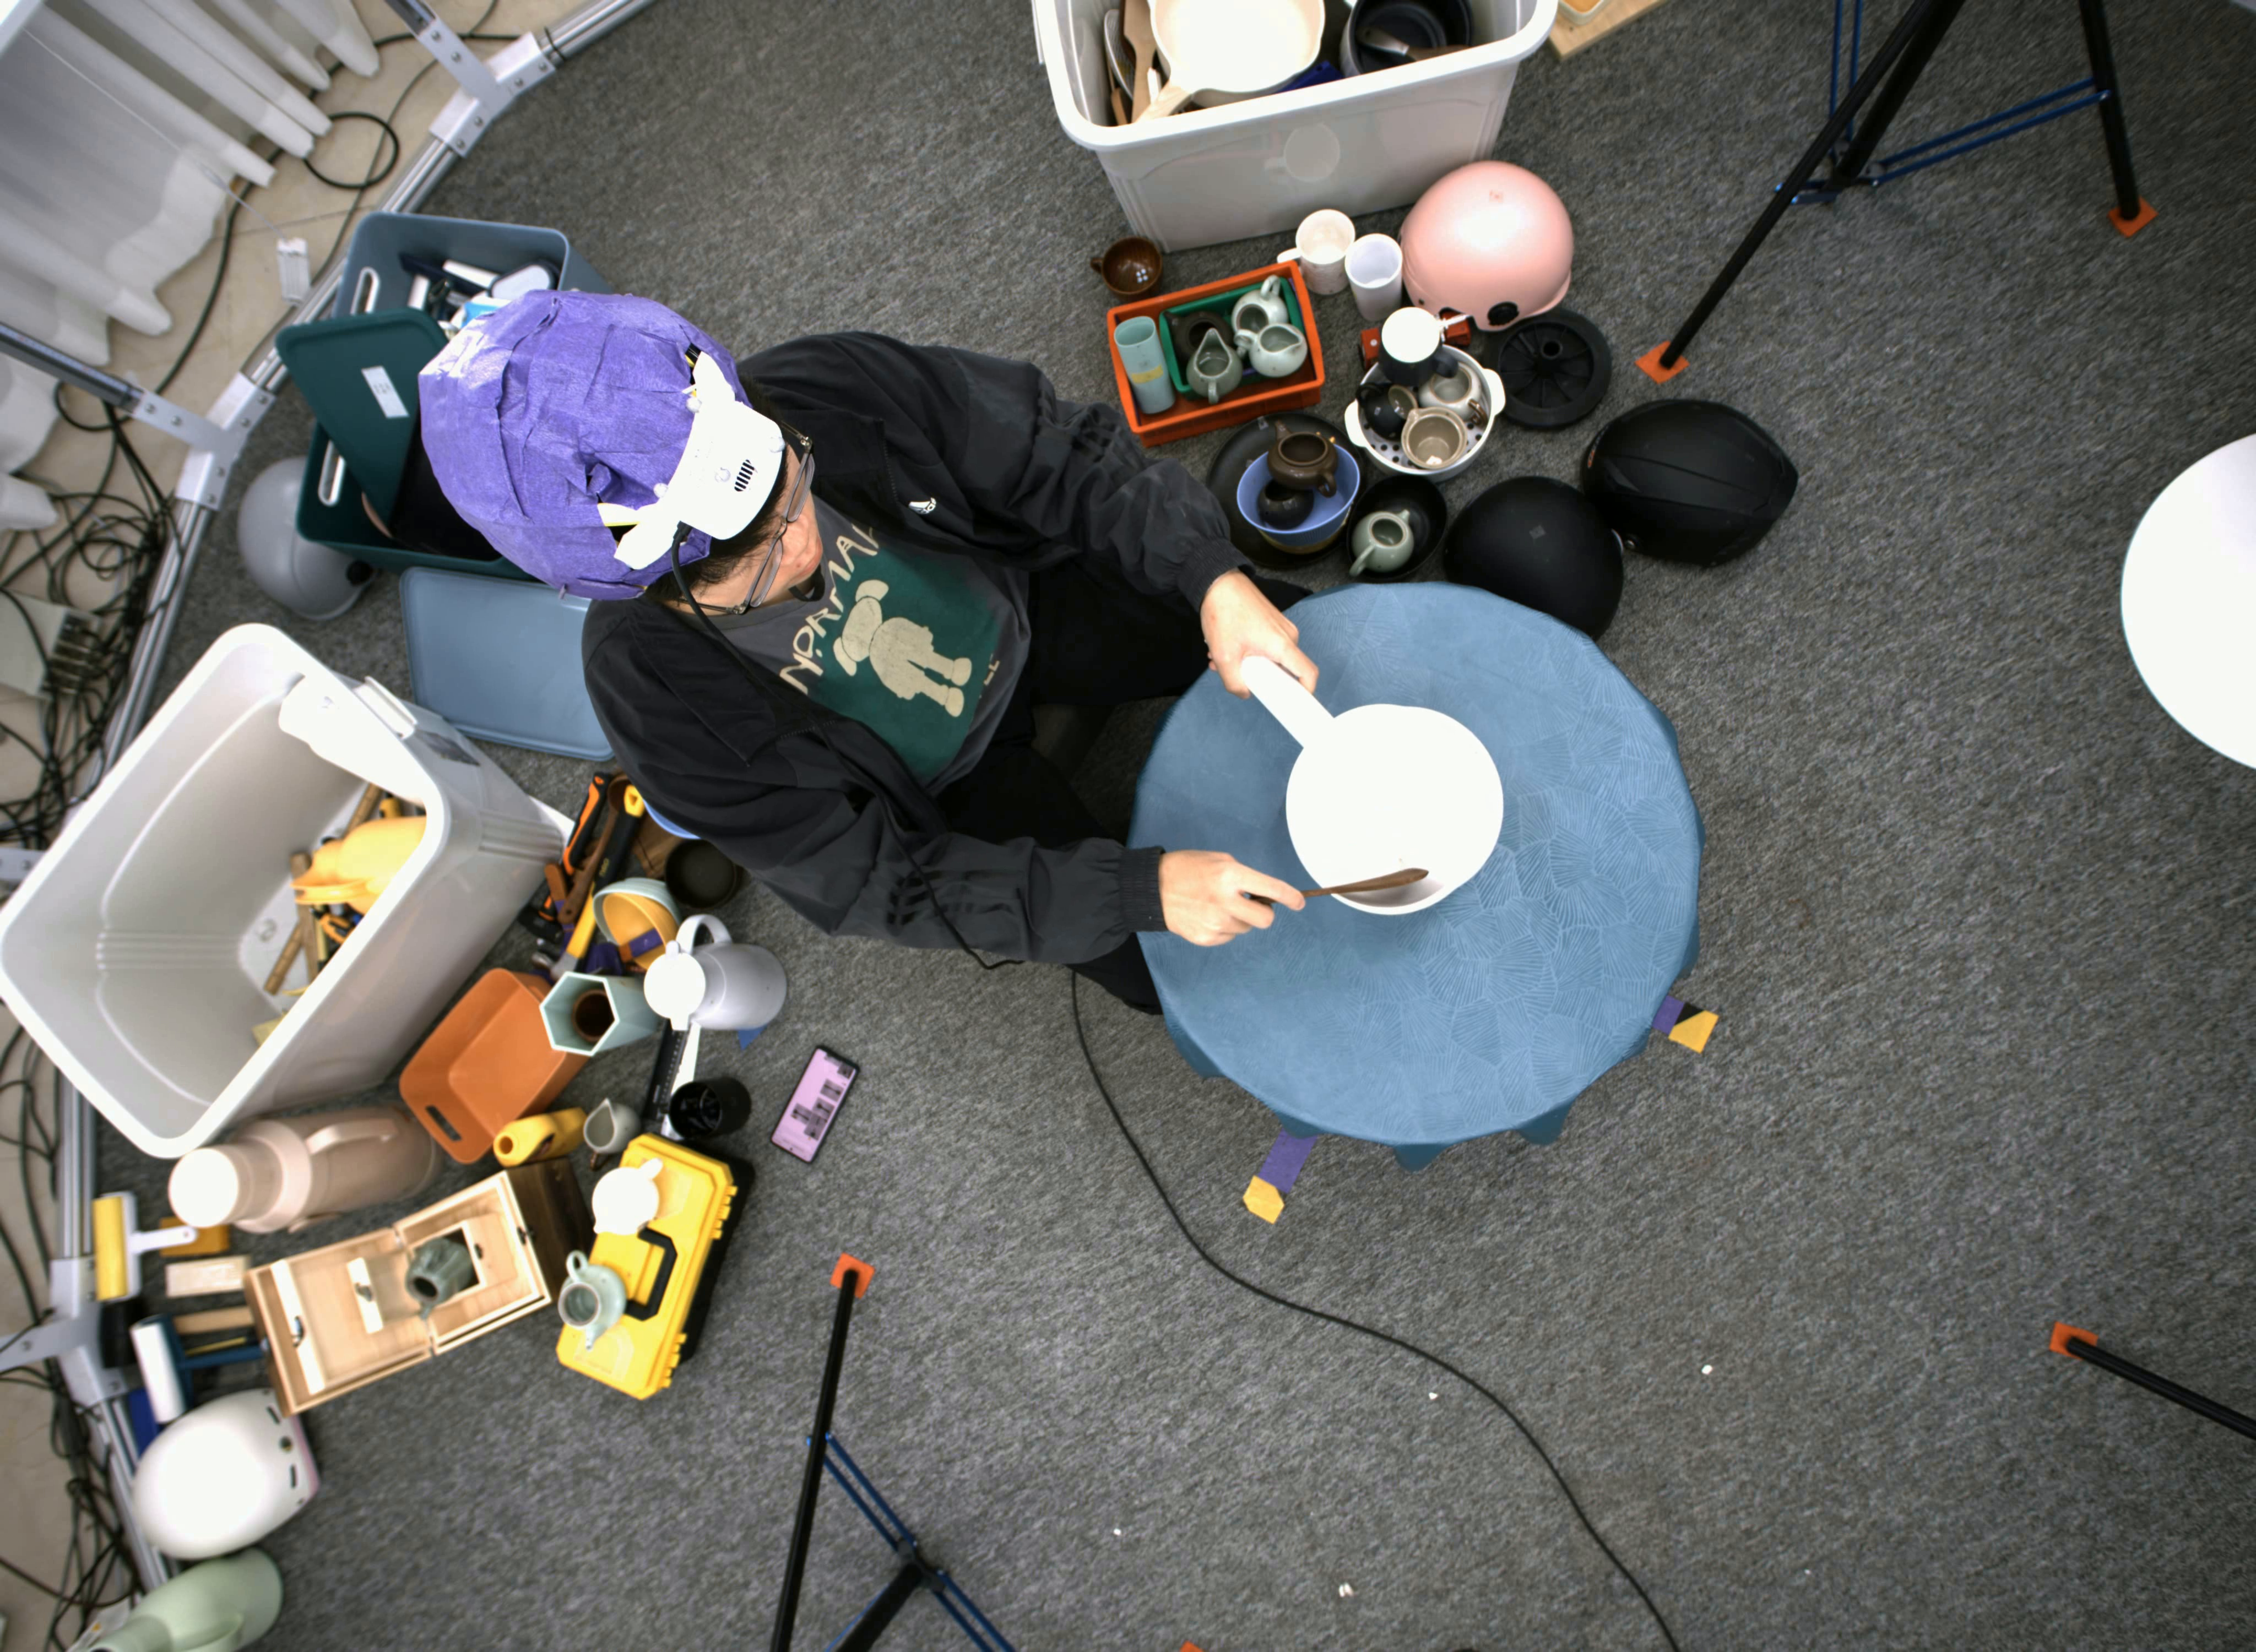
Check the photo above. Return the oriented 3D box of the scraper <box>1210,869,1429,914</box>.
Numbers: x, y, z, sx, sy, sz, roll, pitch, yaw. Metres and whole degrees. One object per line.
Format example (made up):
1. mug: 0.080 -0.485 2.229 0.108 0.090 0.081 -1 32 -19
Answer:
1. scraper: 0.183 0.064 1.332 0.211 0.076 0.011 -10 91 0

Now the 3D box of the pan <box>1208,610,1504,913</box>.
1. pan: 0.219 -0.078 1.372 0.352 0.101 0.205 50 120 16
